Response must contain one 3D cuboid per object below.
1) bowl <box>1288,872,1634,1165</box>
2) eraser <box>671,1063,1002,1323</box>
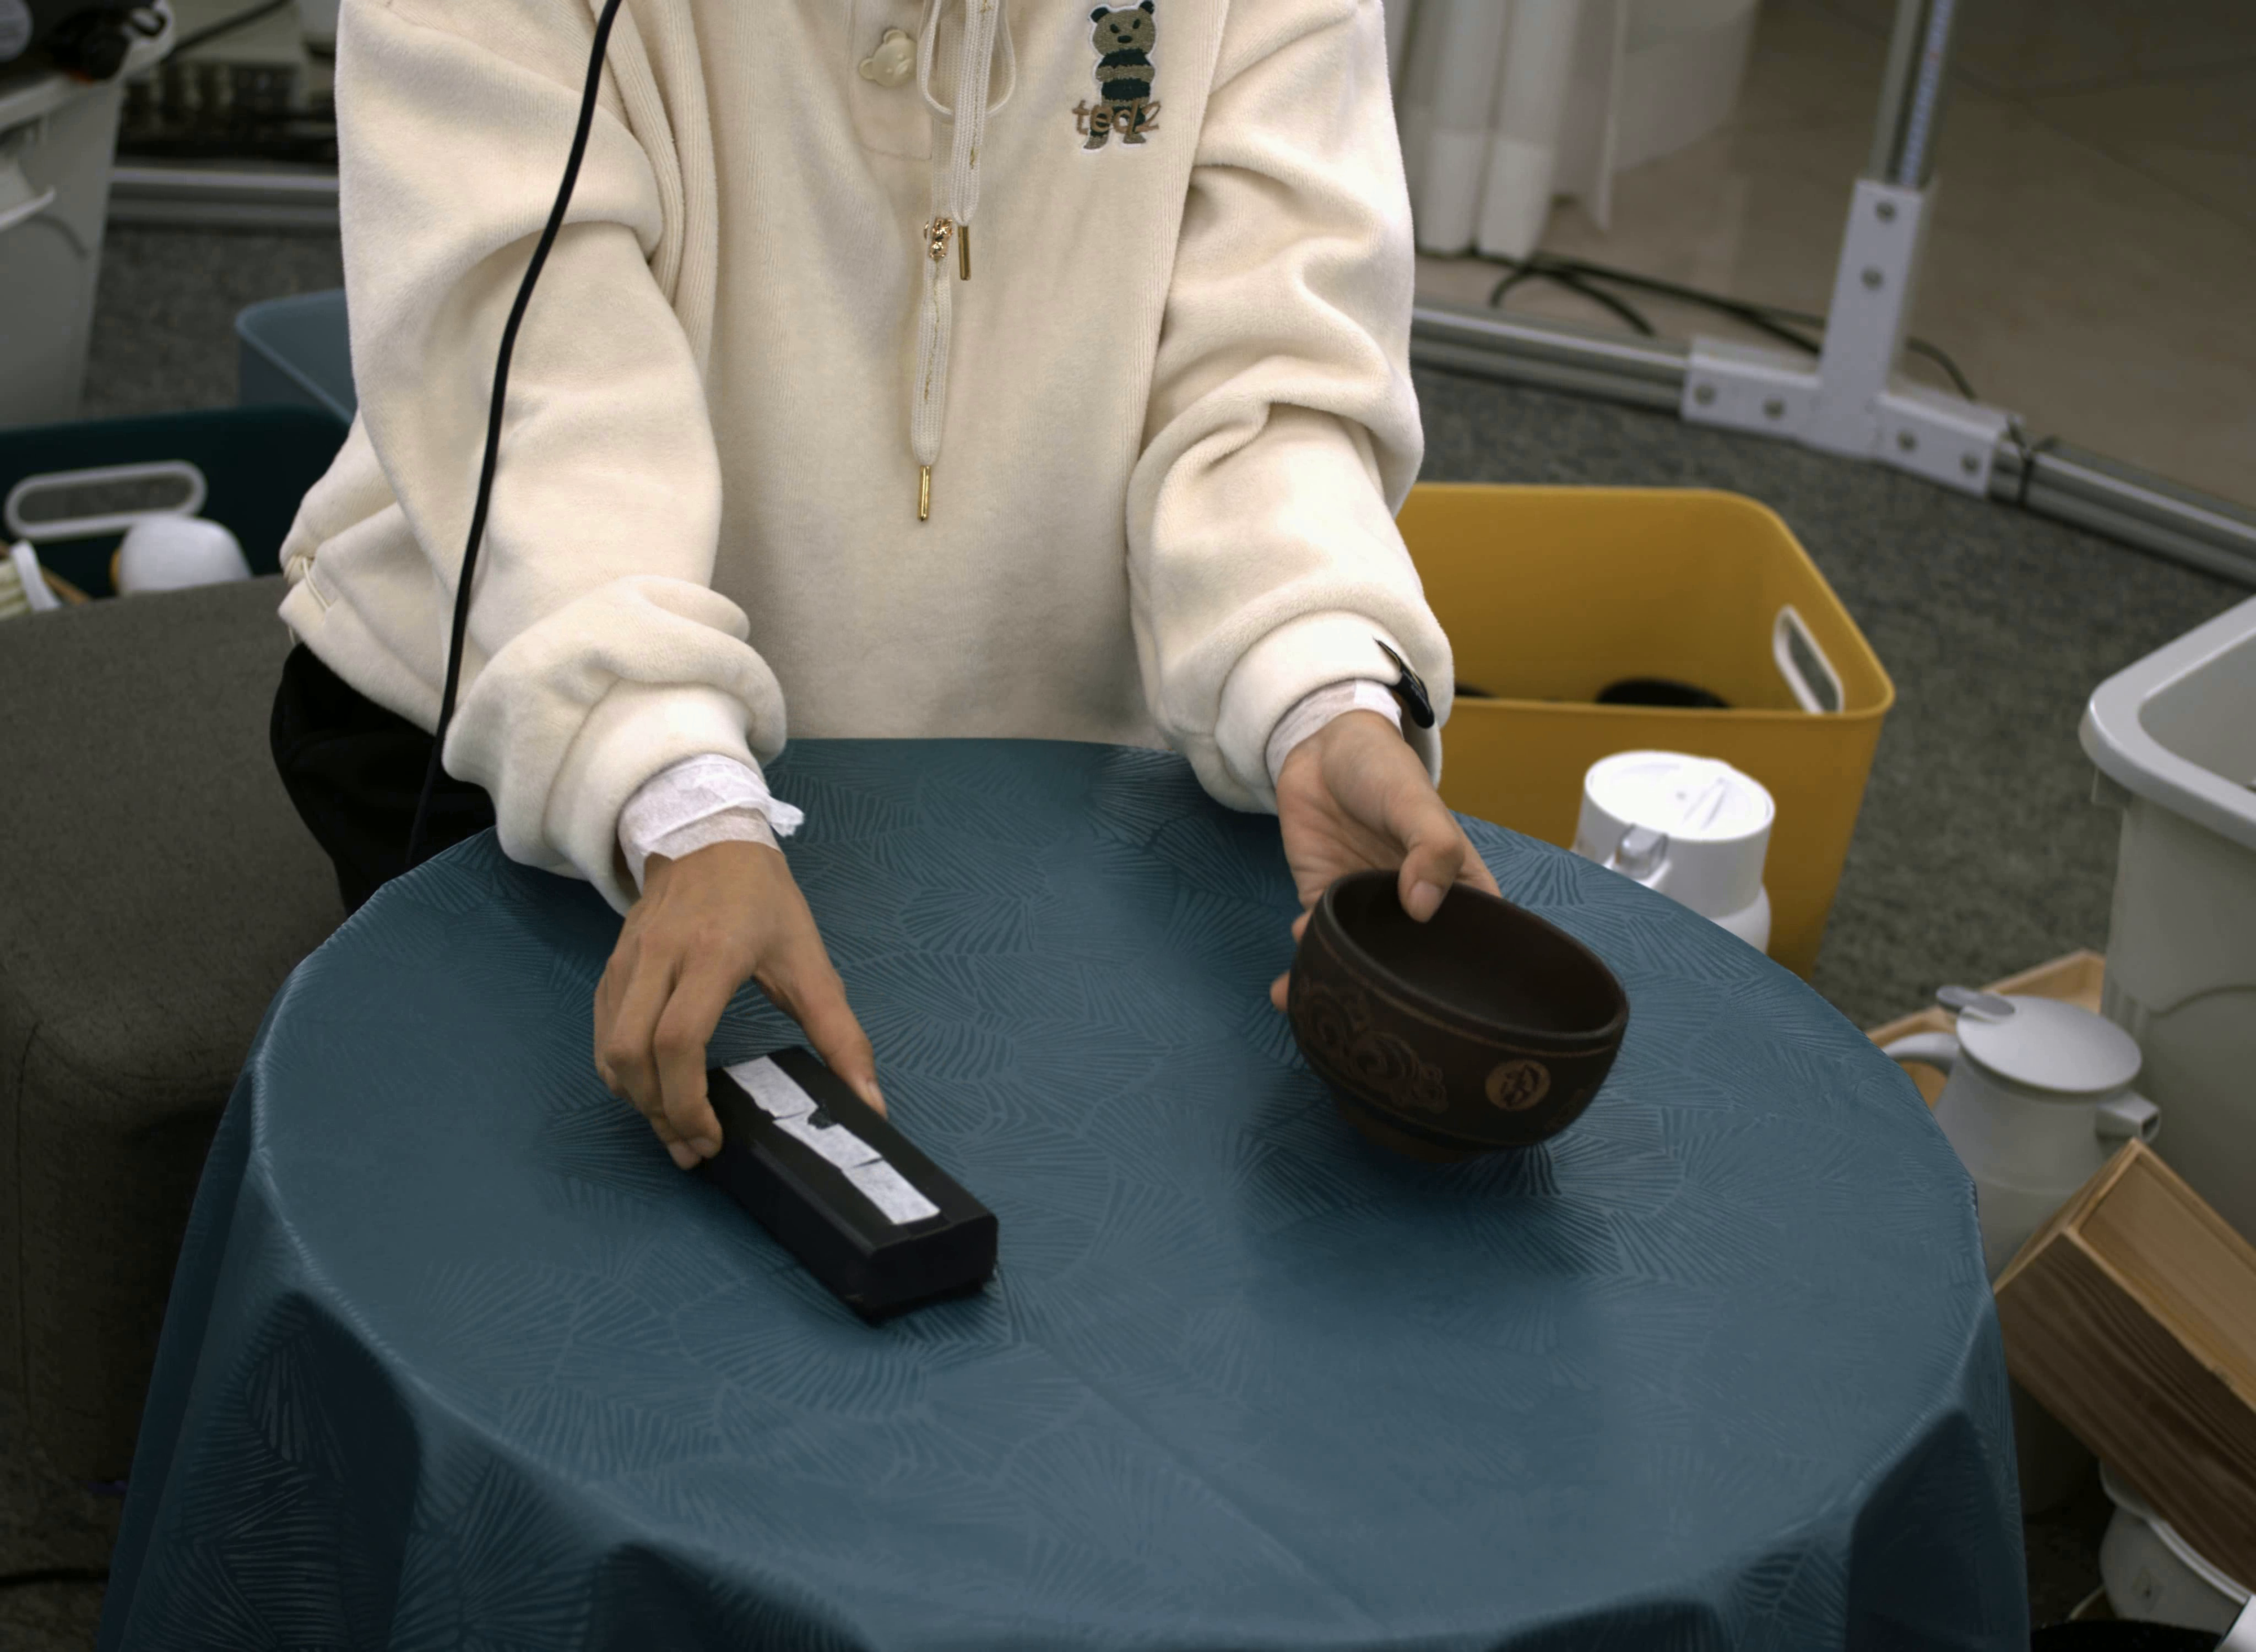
[{"bbox_3d":[0.109,0.073,1.831,0.117,0.070,0.118,16,22,-7],"label":"bowl"},{"bbox_3d":[-0.097,0.120,1.757,0.053,0.030,0.126,-13,31,-33],"label":"eraser"}]
